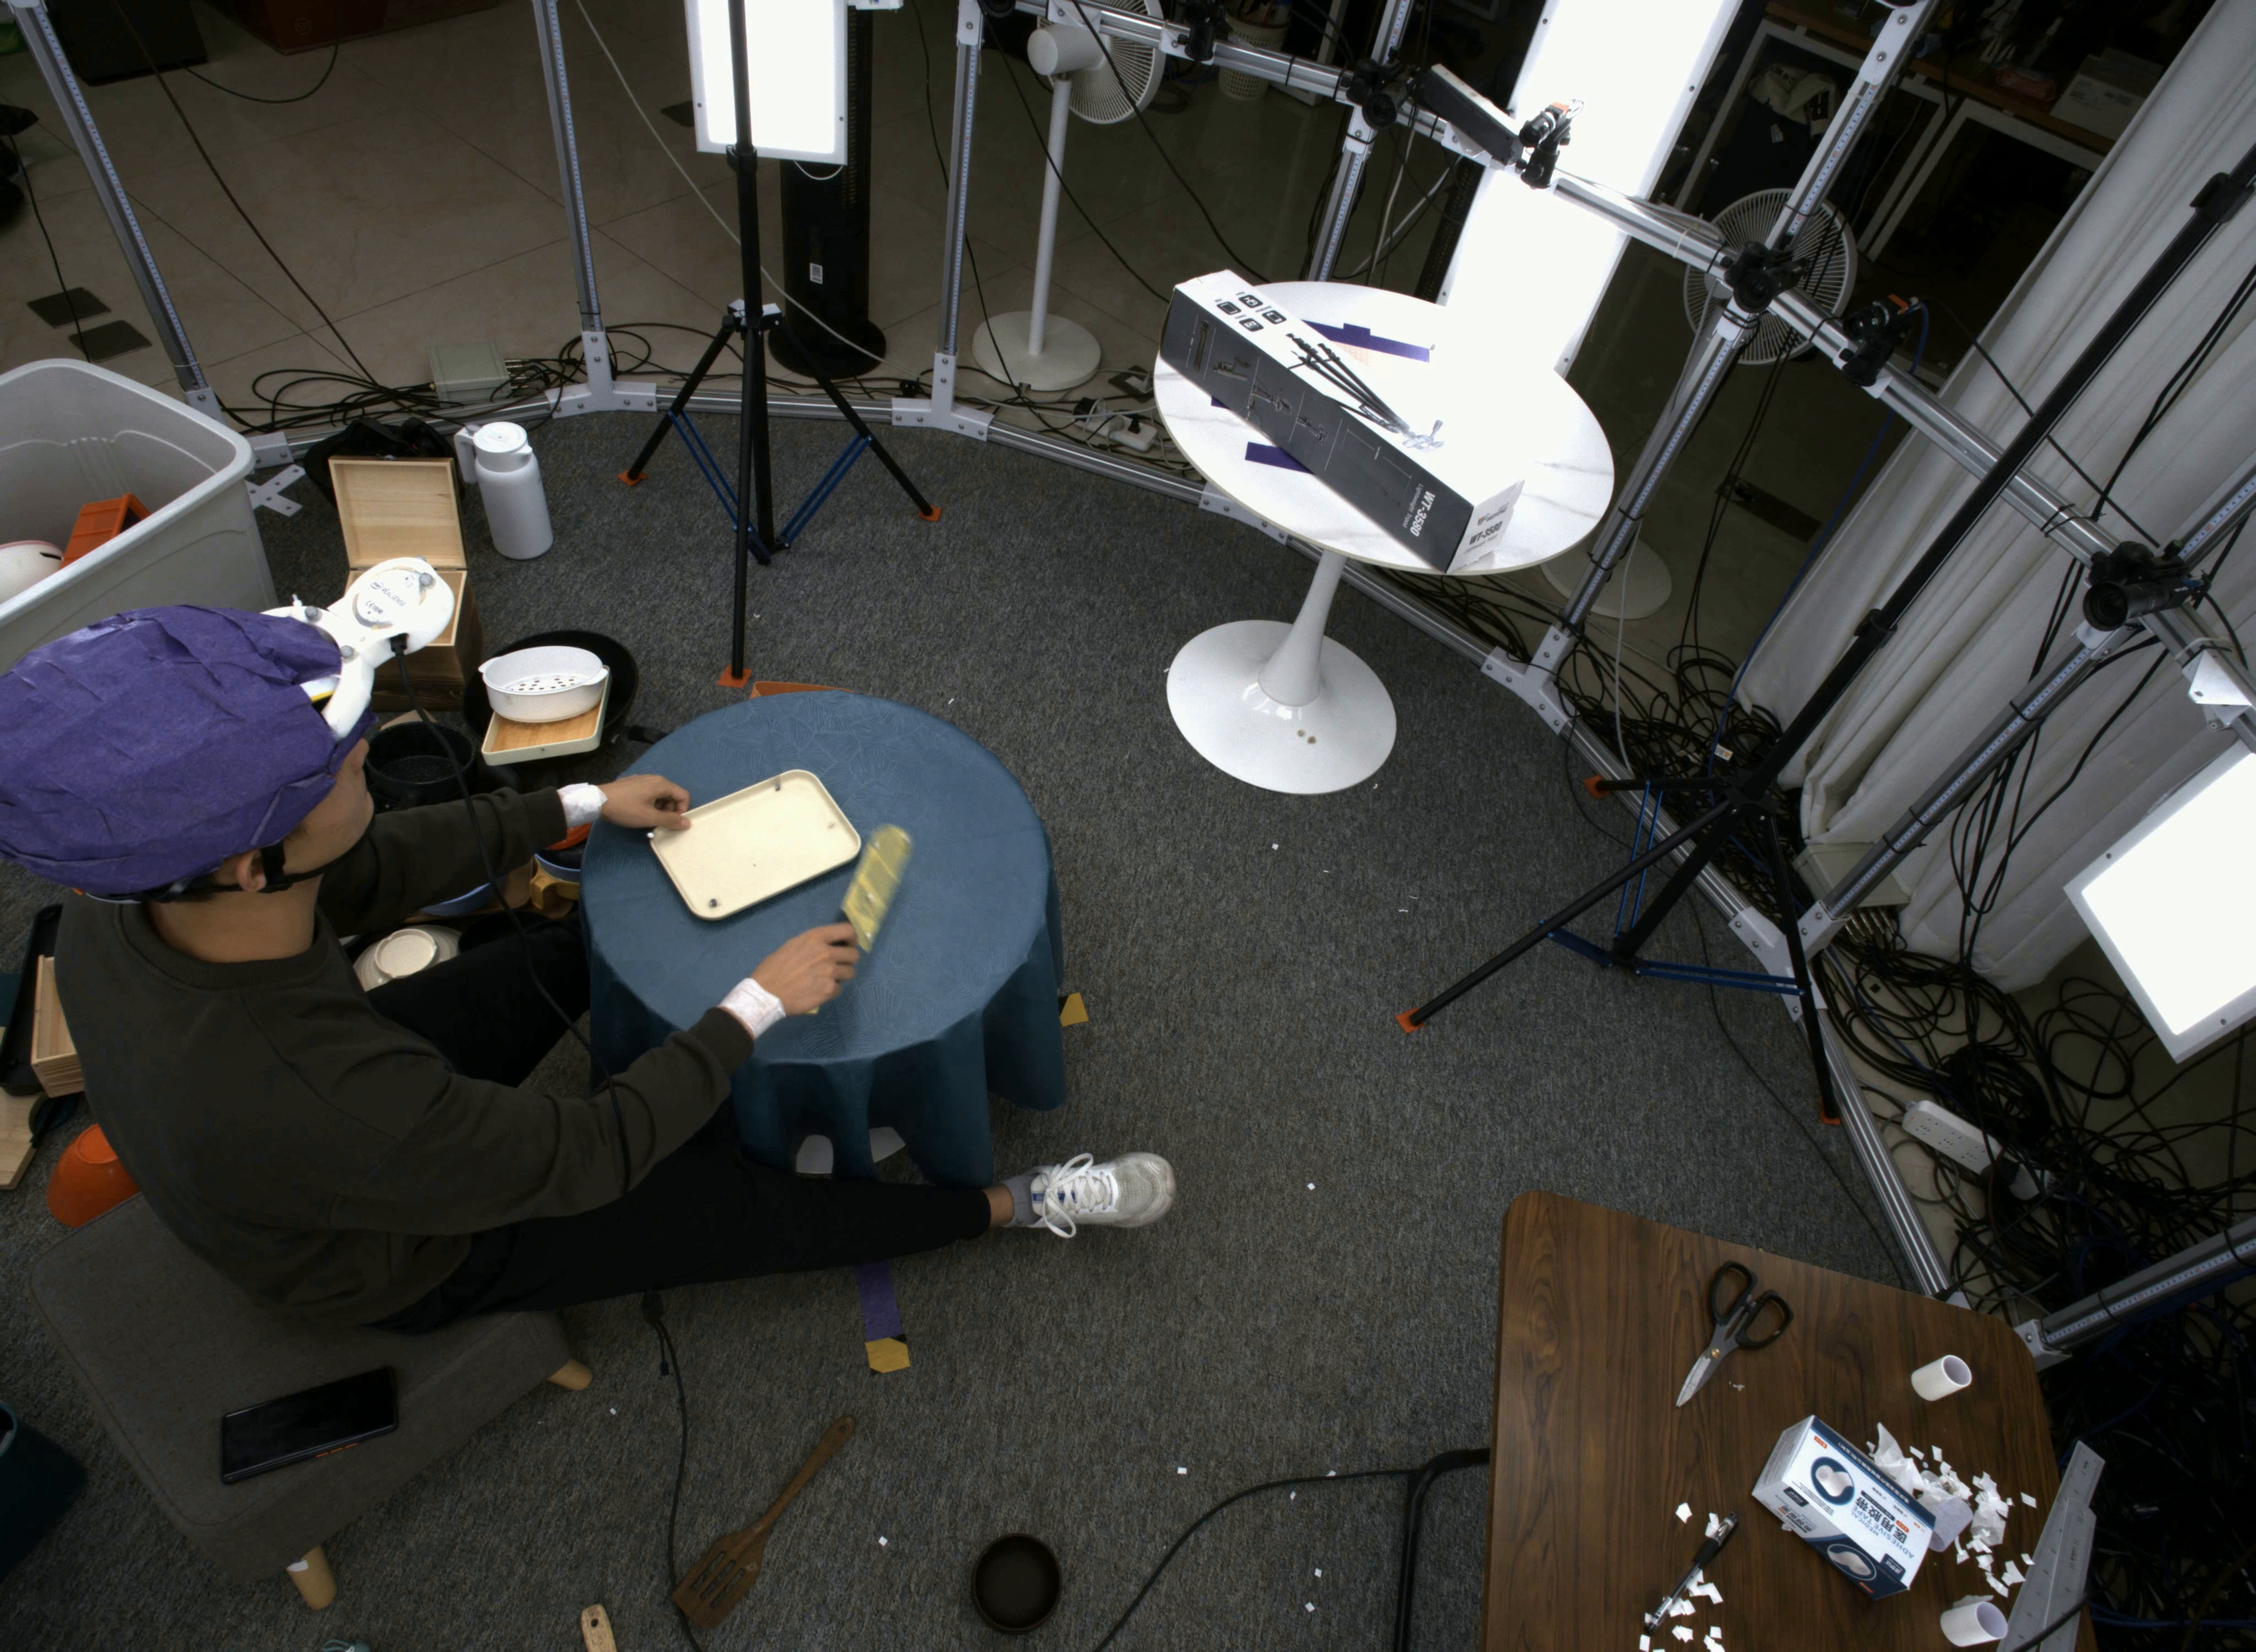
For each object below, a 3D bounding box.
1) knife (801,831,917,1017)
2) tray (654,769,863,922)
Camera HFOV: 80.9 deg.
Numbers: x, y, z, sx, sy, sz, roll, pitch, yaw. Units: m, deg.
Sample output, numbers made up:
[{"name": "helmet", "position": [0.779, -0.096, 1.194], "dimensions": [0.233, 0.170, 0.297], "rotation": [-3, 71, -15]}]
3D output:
[{"name": "knife", "position": [-0.324, 0.118, 1.596], "dimensions": [0.026, 0.084, 0.287], "rotation": [0, 48, 30]}, {"name": "tray", "position": [-0.482, 0.022, 1.691], "dimensions": [0.241, 0.018, 0.167], "rotation": [-26, 65, -30]}]
